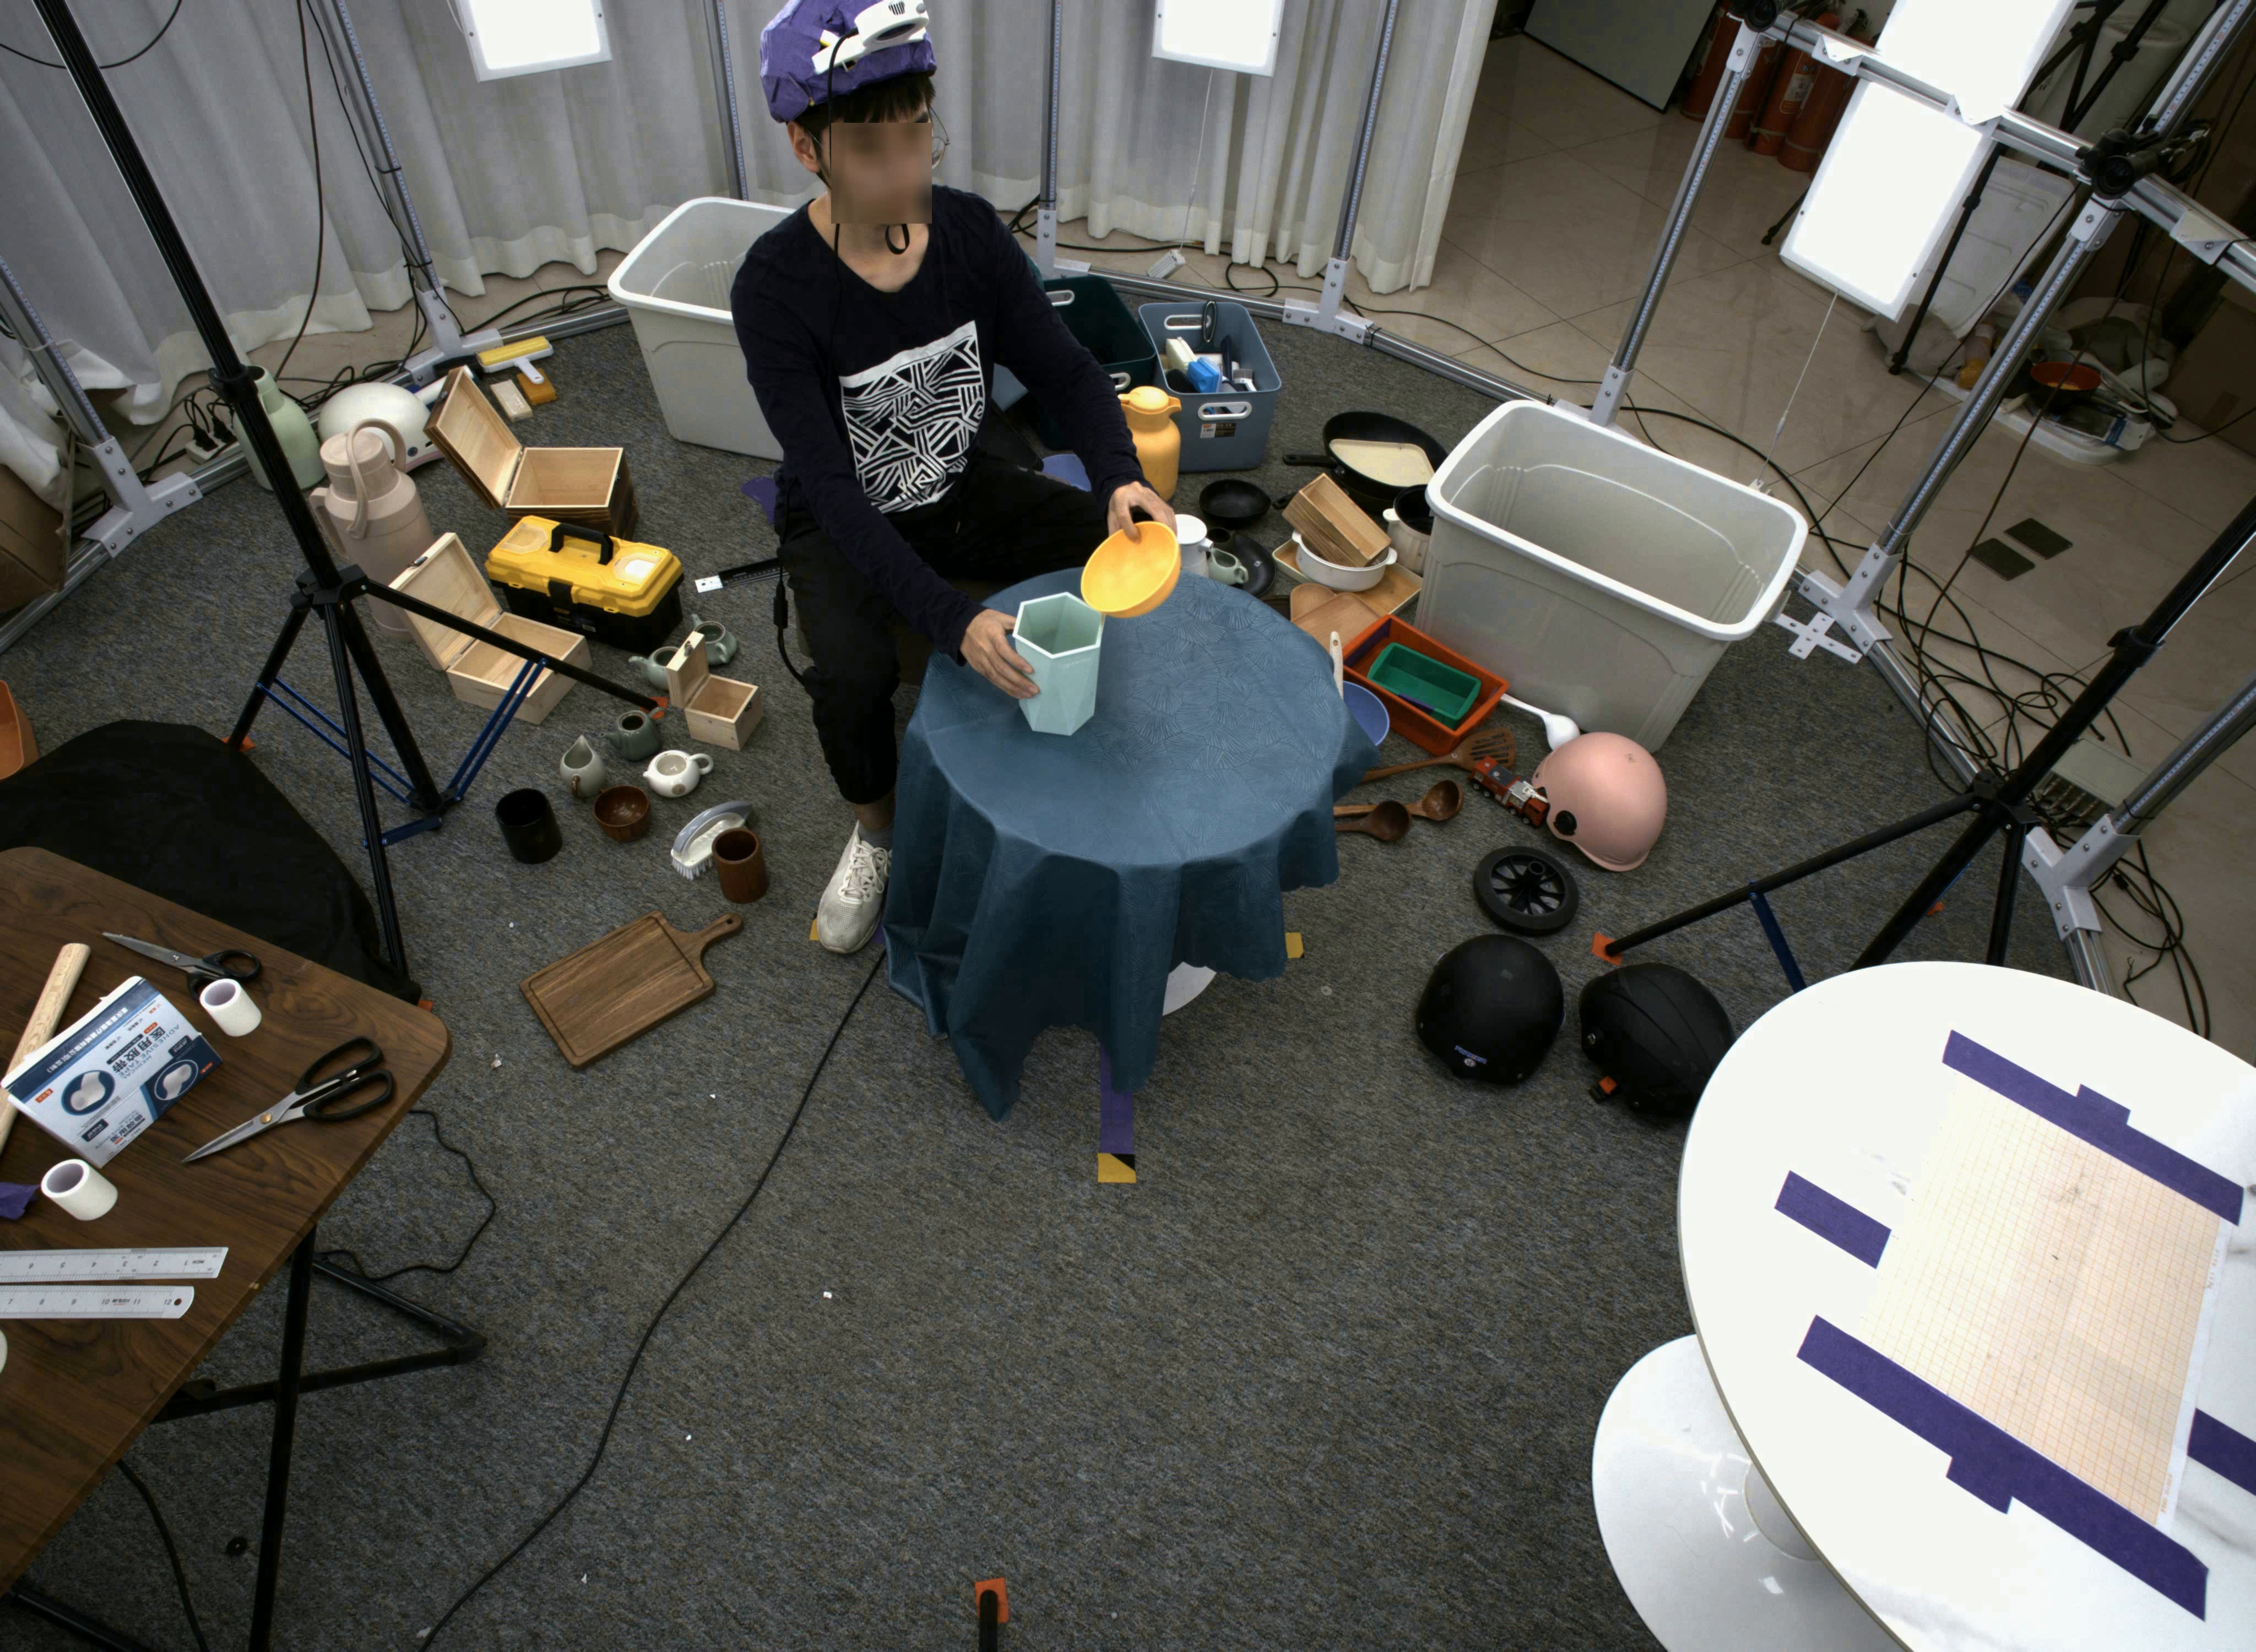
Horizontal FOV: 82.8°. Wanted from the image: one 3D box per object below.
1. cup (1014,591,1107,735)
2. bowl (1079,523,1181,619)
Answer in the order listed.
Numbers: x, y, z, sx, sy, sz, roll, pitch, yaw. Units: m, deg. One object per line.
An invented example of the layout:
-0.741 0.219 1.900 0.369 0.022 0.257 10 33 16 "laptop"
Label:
-0.093 -0.215 1.741 0.131 0.159 0.118 -16 51 -18 "cup"
0.013 -0.323 1.689 0.145 0.059 0.149 -17 52 22 "bowl"
